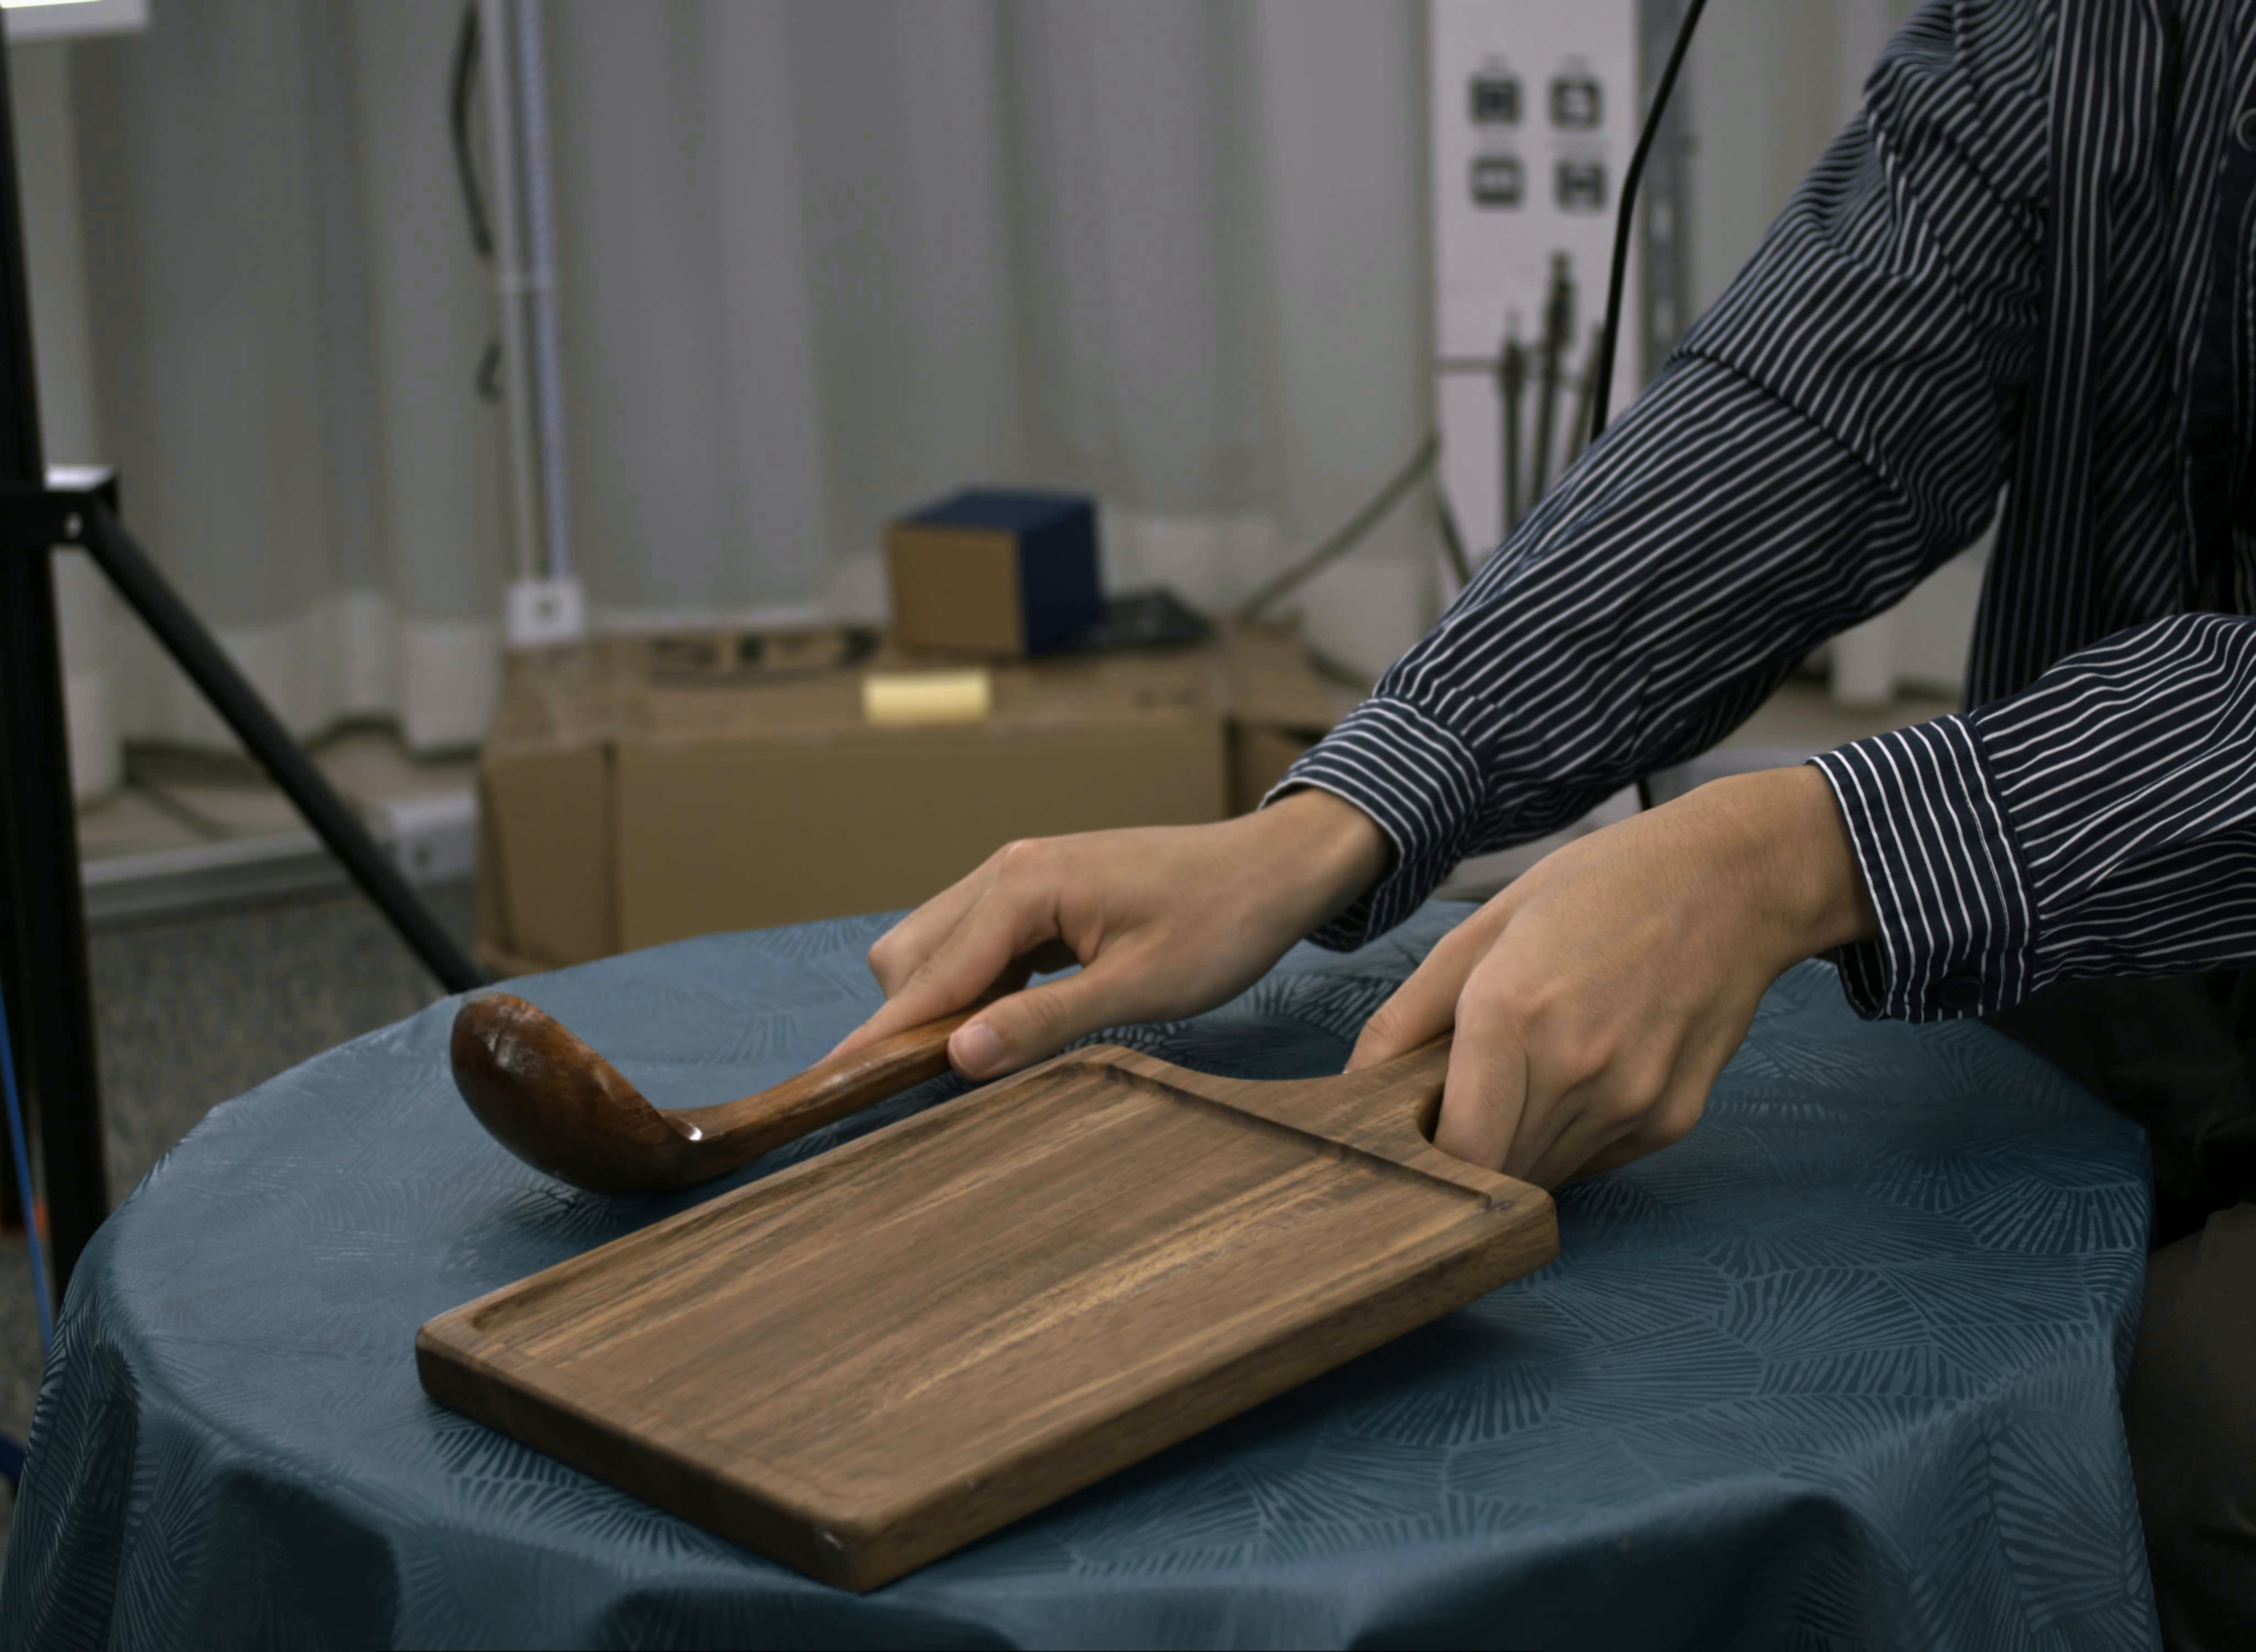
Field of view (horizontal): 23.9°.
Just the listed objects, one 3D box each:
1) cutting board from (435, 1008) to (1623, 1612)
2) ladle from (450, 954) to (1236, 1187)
[{"bbox_3d":[0.007,0.114,1.446,0.345,0.023,0.206,-21,24,-34],"label":"cutting board"},{"bbox_3d":[-0.081,0.050,1.623,0.268,0.076,0.084,-17,27,-32],"label":"ladle"}]
